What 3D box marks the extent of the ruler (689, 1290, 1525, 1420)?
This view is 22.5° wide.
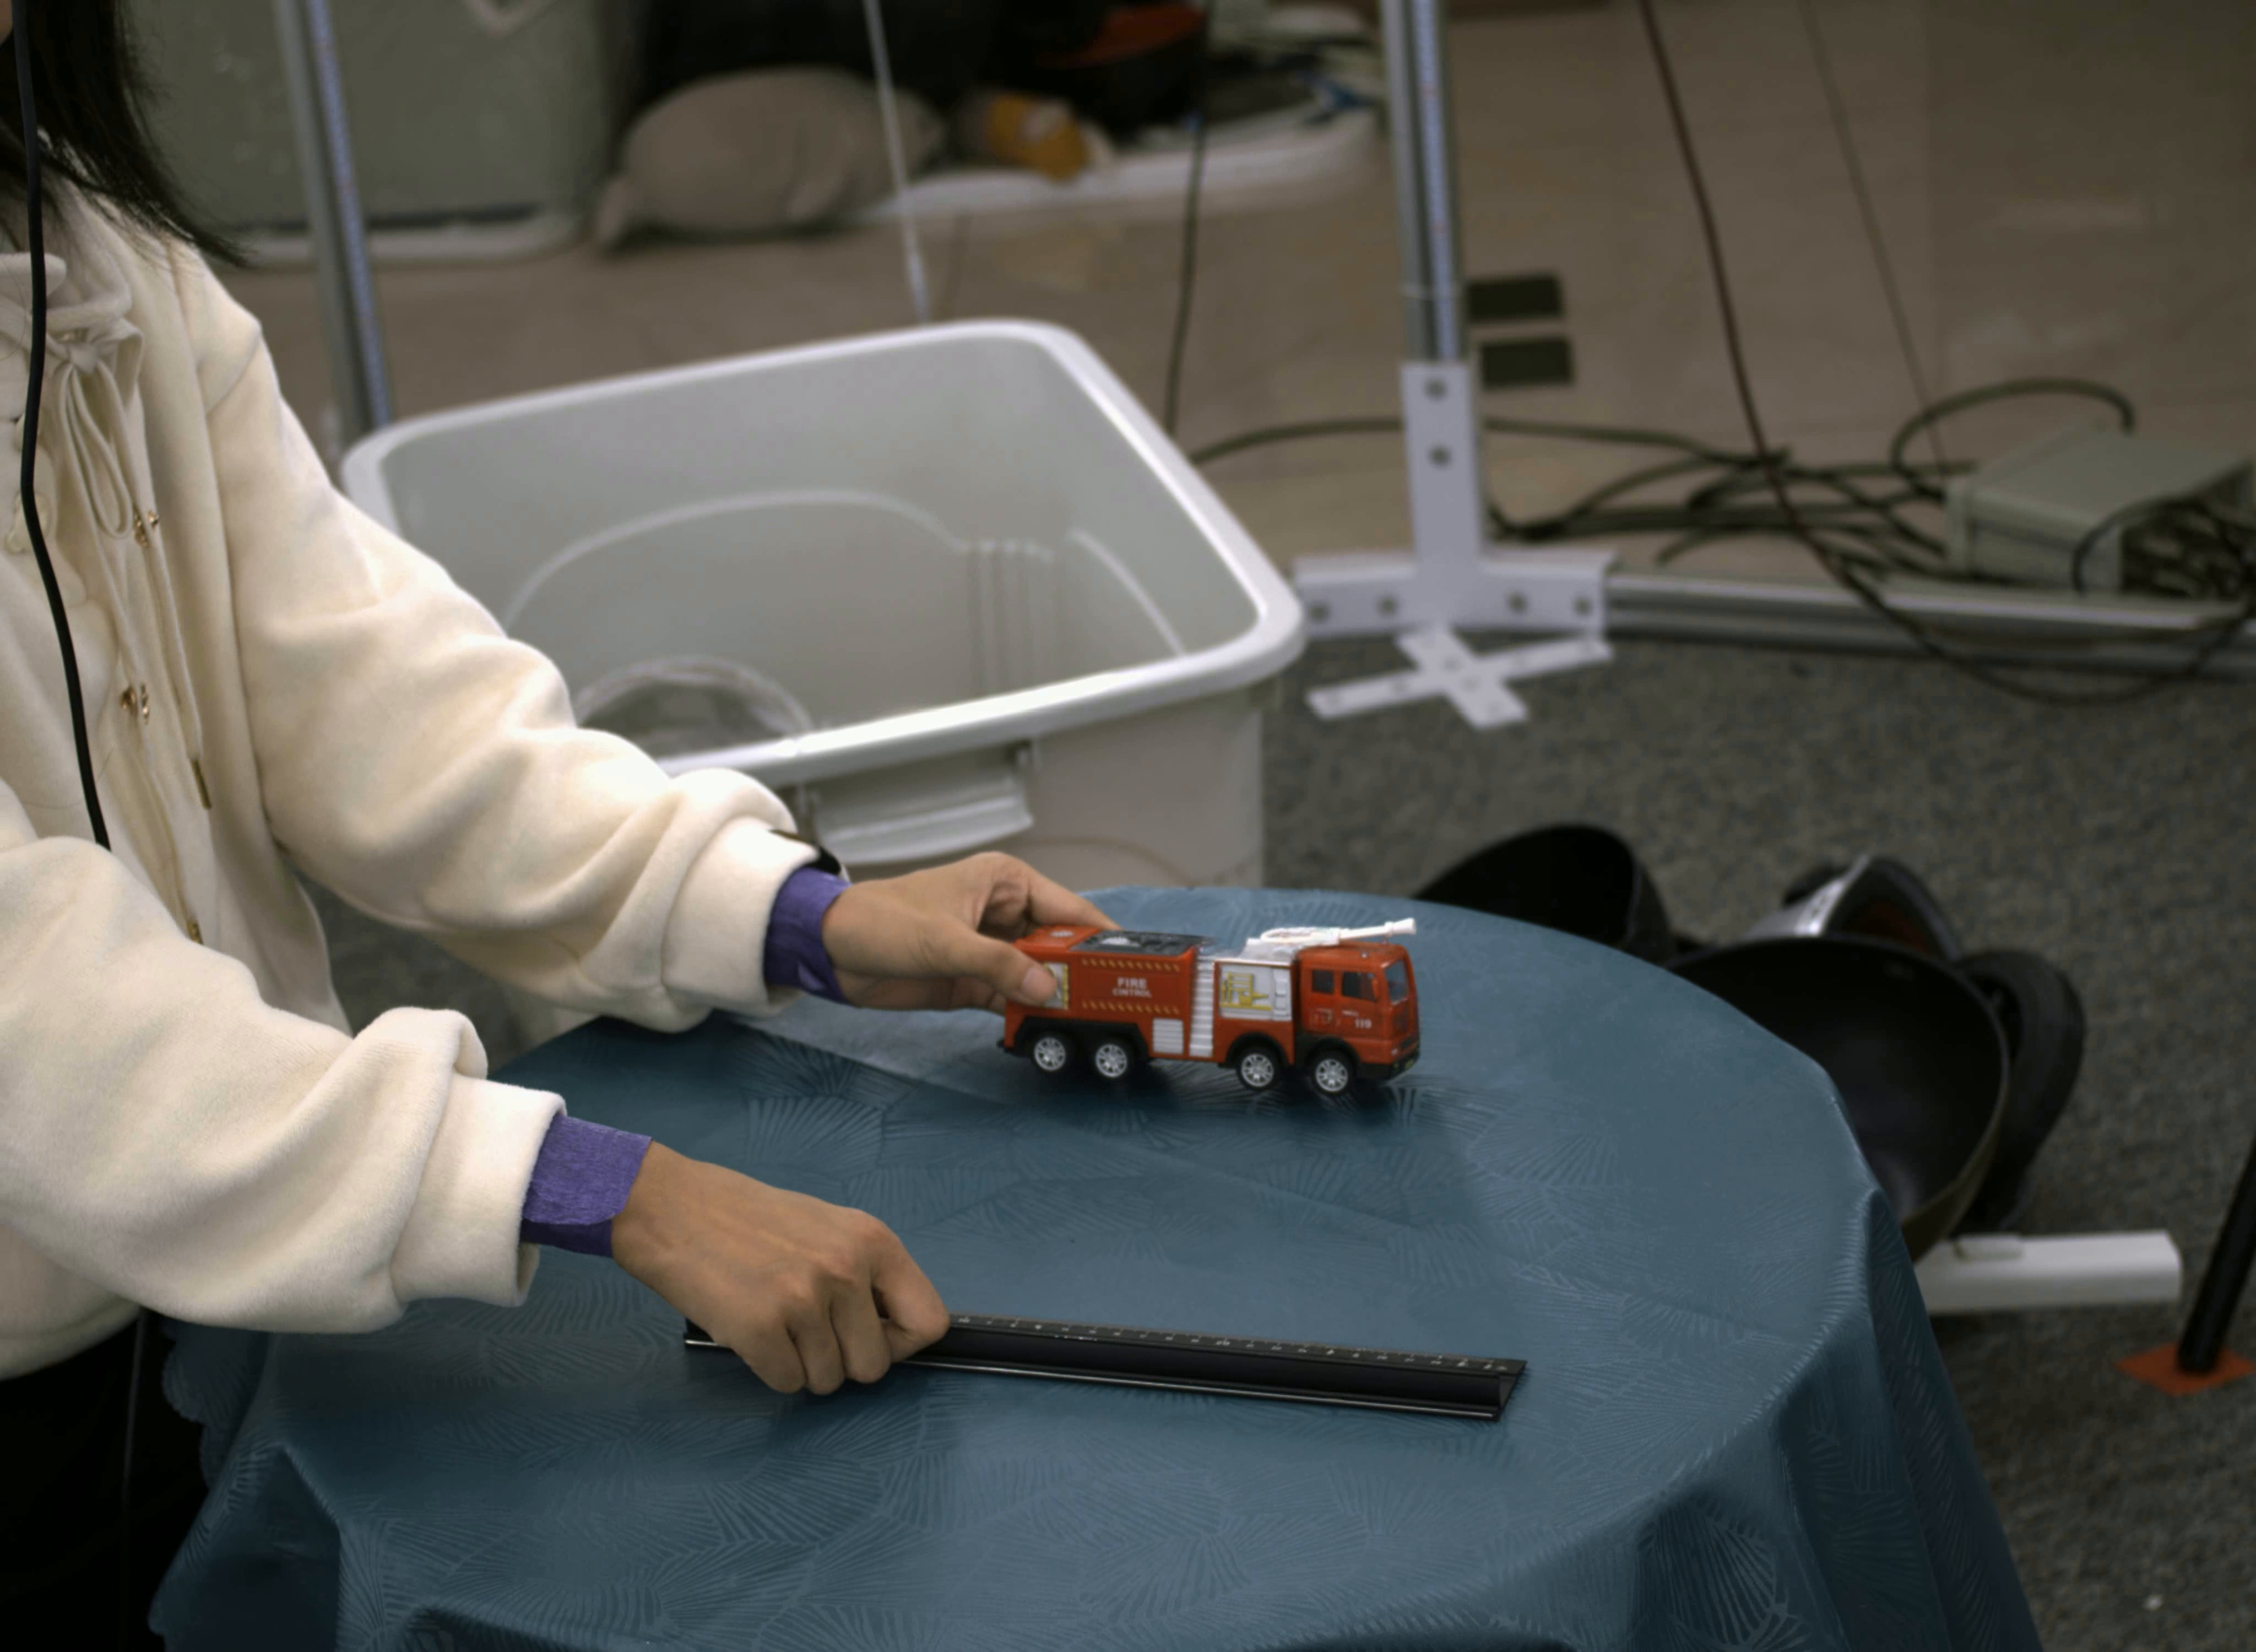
[{"bbox_3d":[-0.011,0.183,2.035,0.311,0.017,0.039,3,25,21],"label":"ruler"}]

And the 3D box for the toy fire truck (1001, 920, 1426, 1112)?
[{"bbox_3d":[0.035,0.070,2.209,0.167,0.071,0.053,1,13,19],"label":"toy fire truck"}]
